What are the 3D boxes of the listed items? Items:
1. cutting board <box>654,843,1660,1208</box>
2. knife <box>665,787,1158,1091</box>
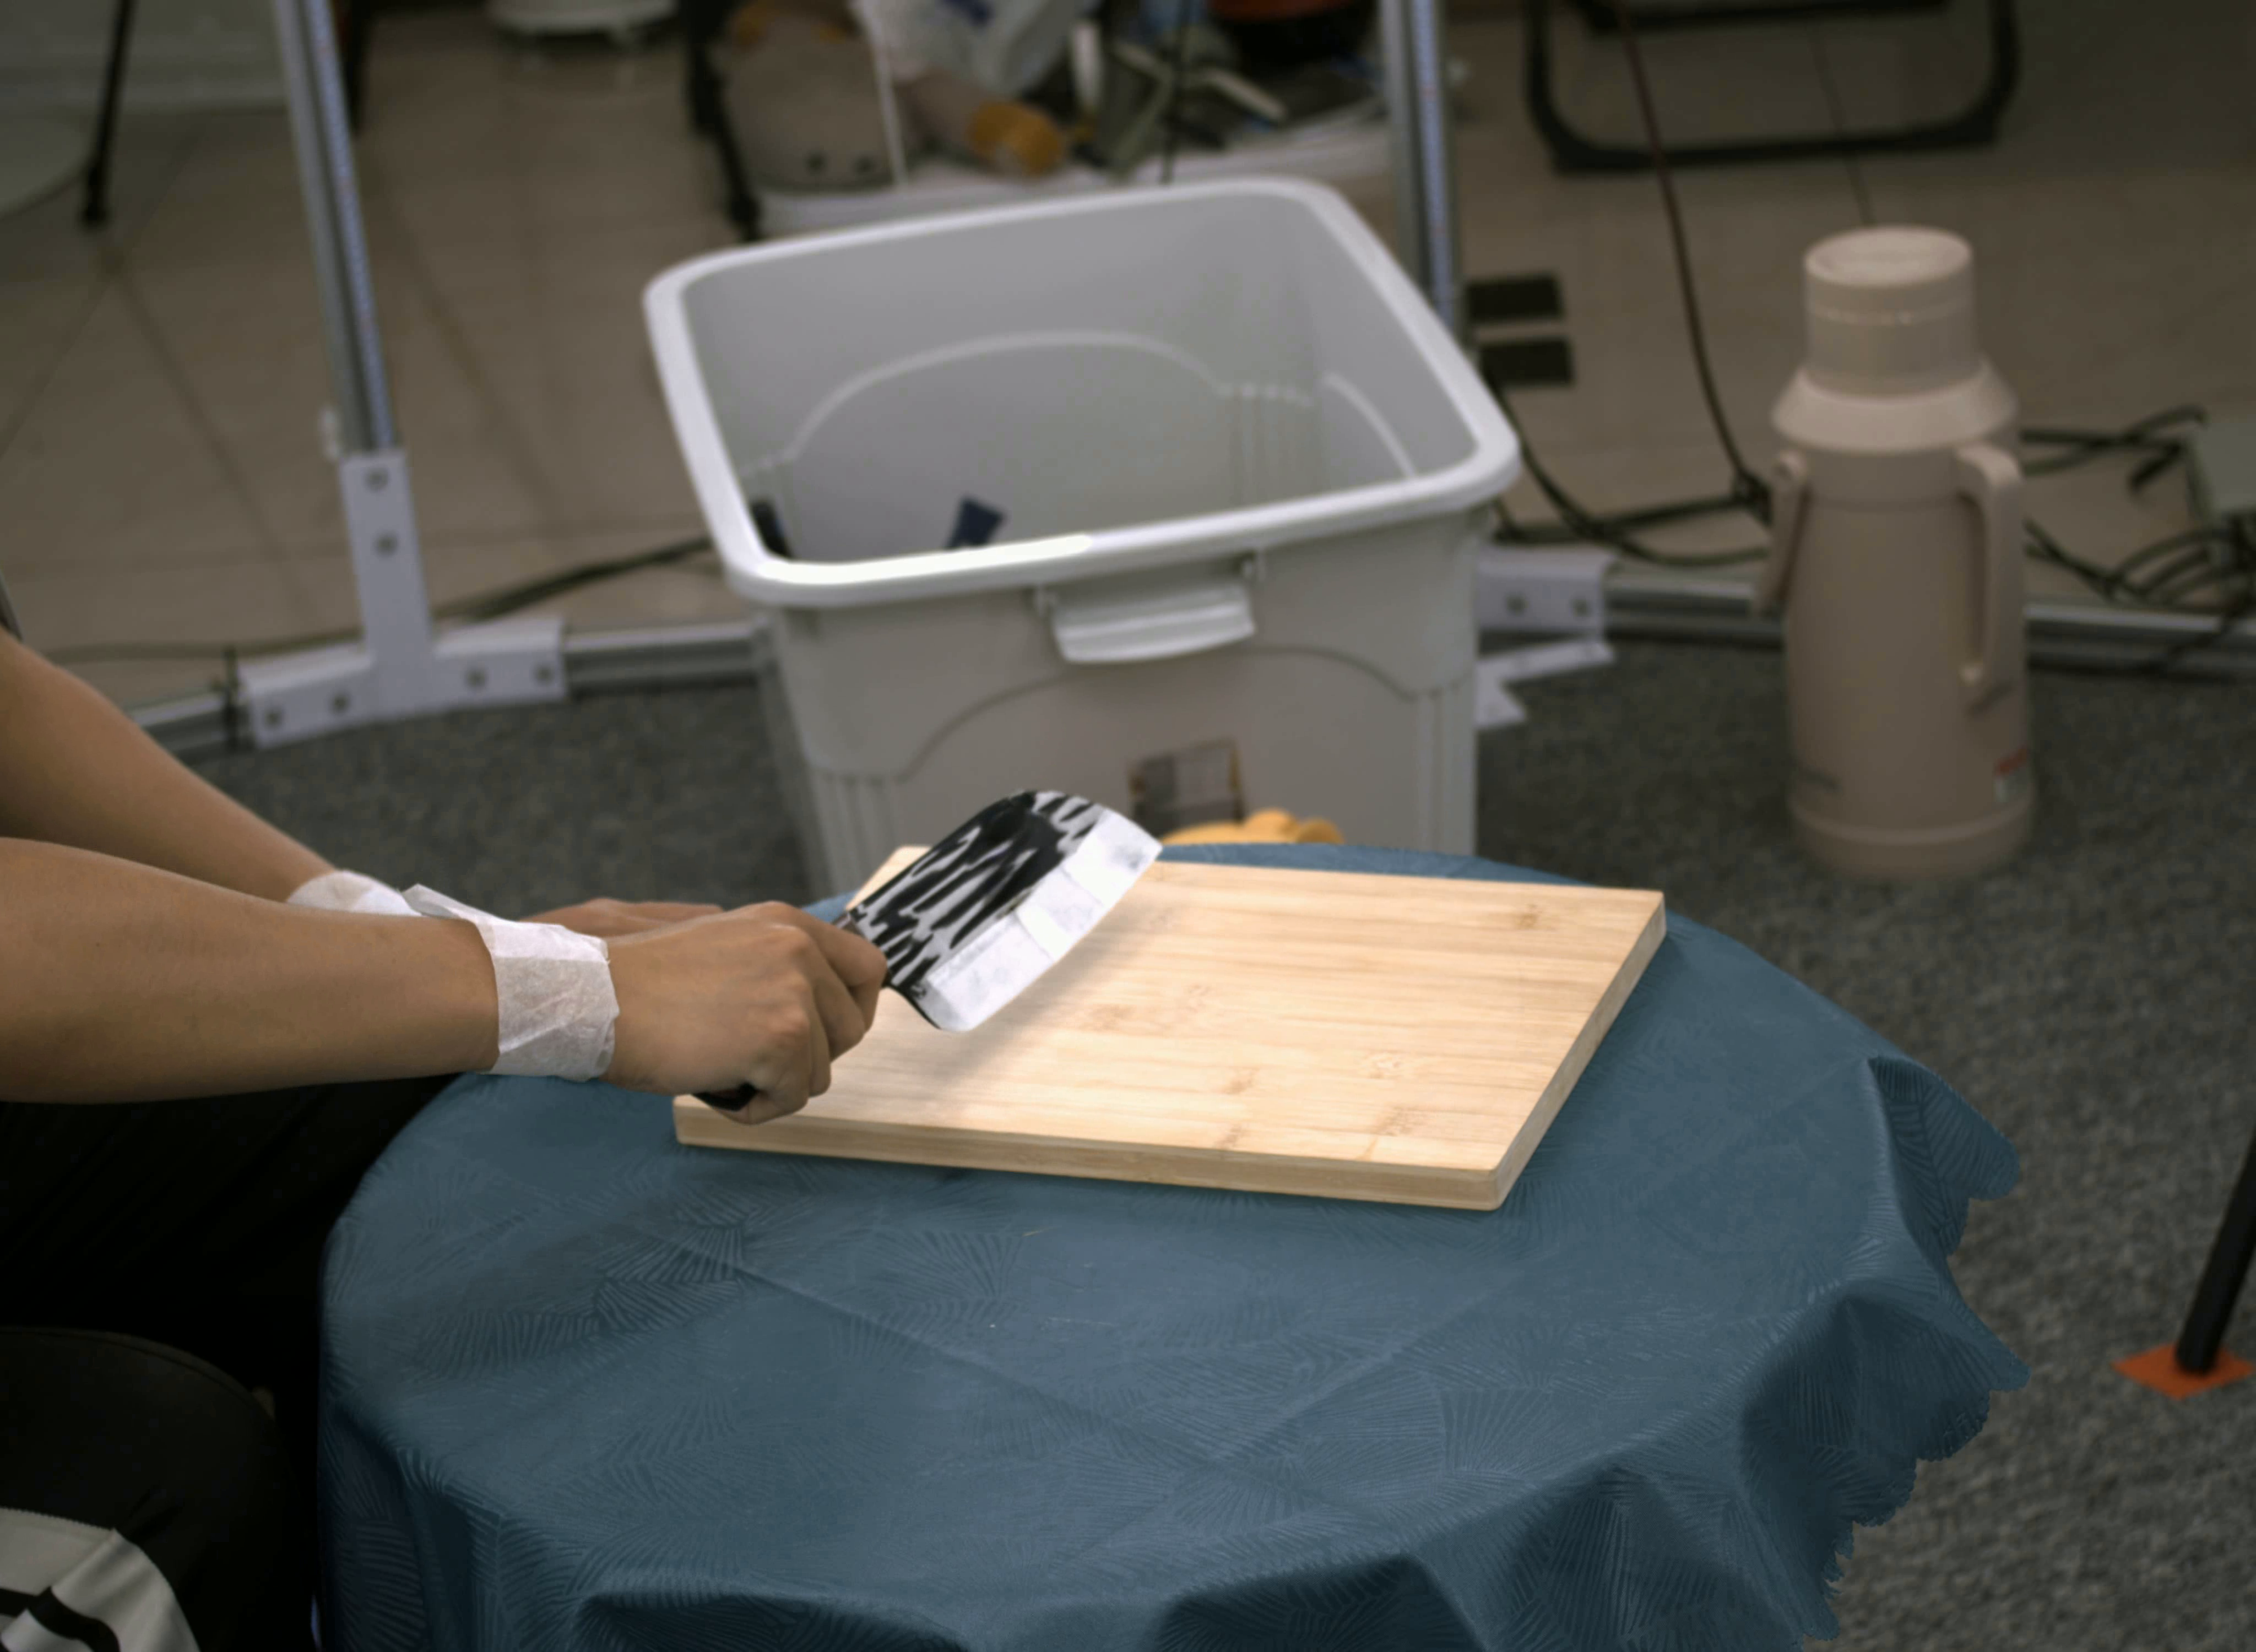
[{"bbox_3d":[0.015,0.075,2.265,0.348,0.024,0.247,3,26,20],"label":"cutting board"},{"bbox_3d":[-0.078,0.047,2.212,0.068,0.024,0.296,49,40,3],"label":"knife"}]
